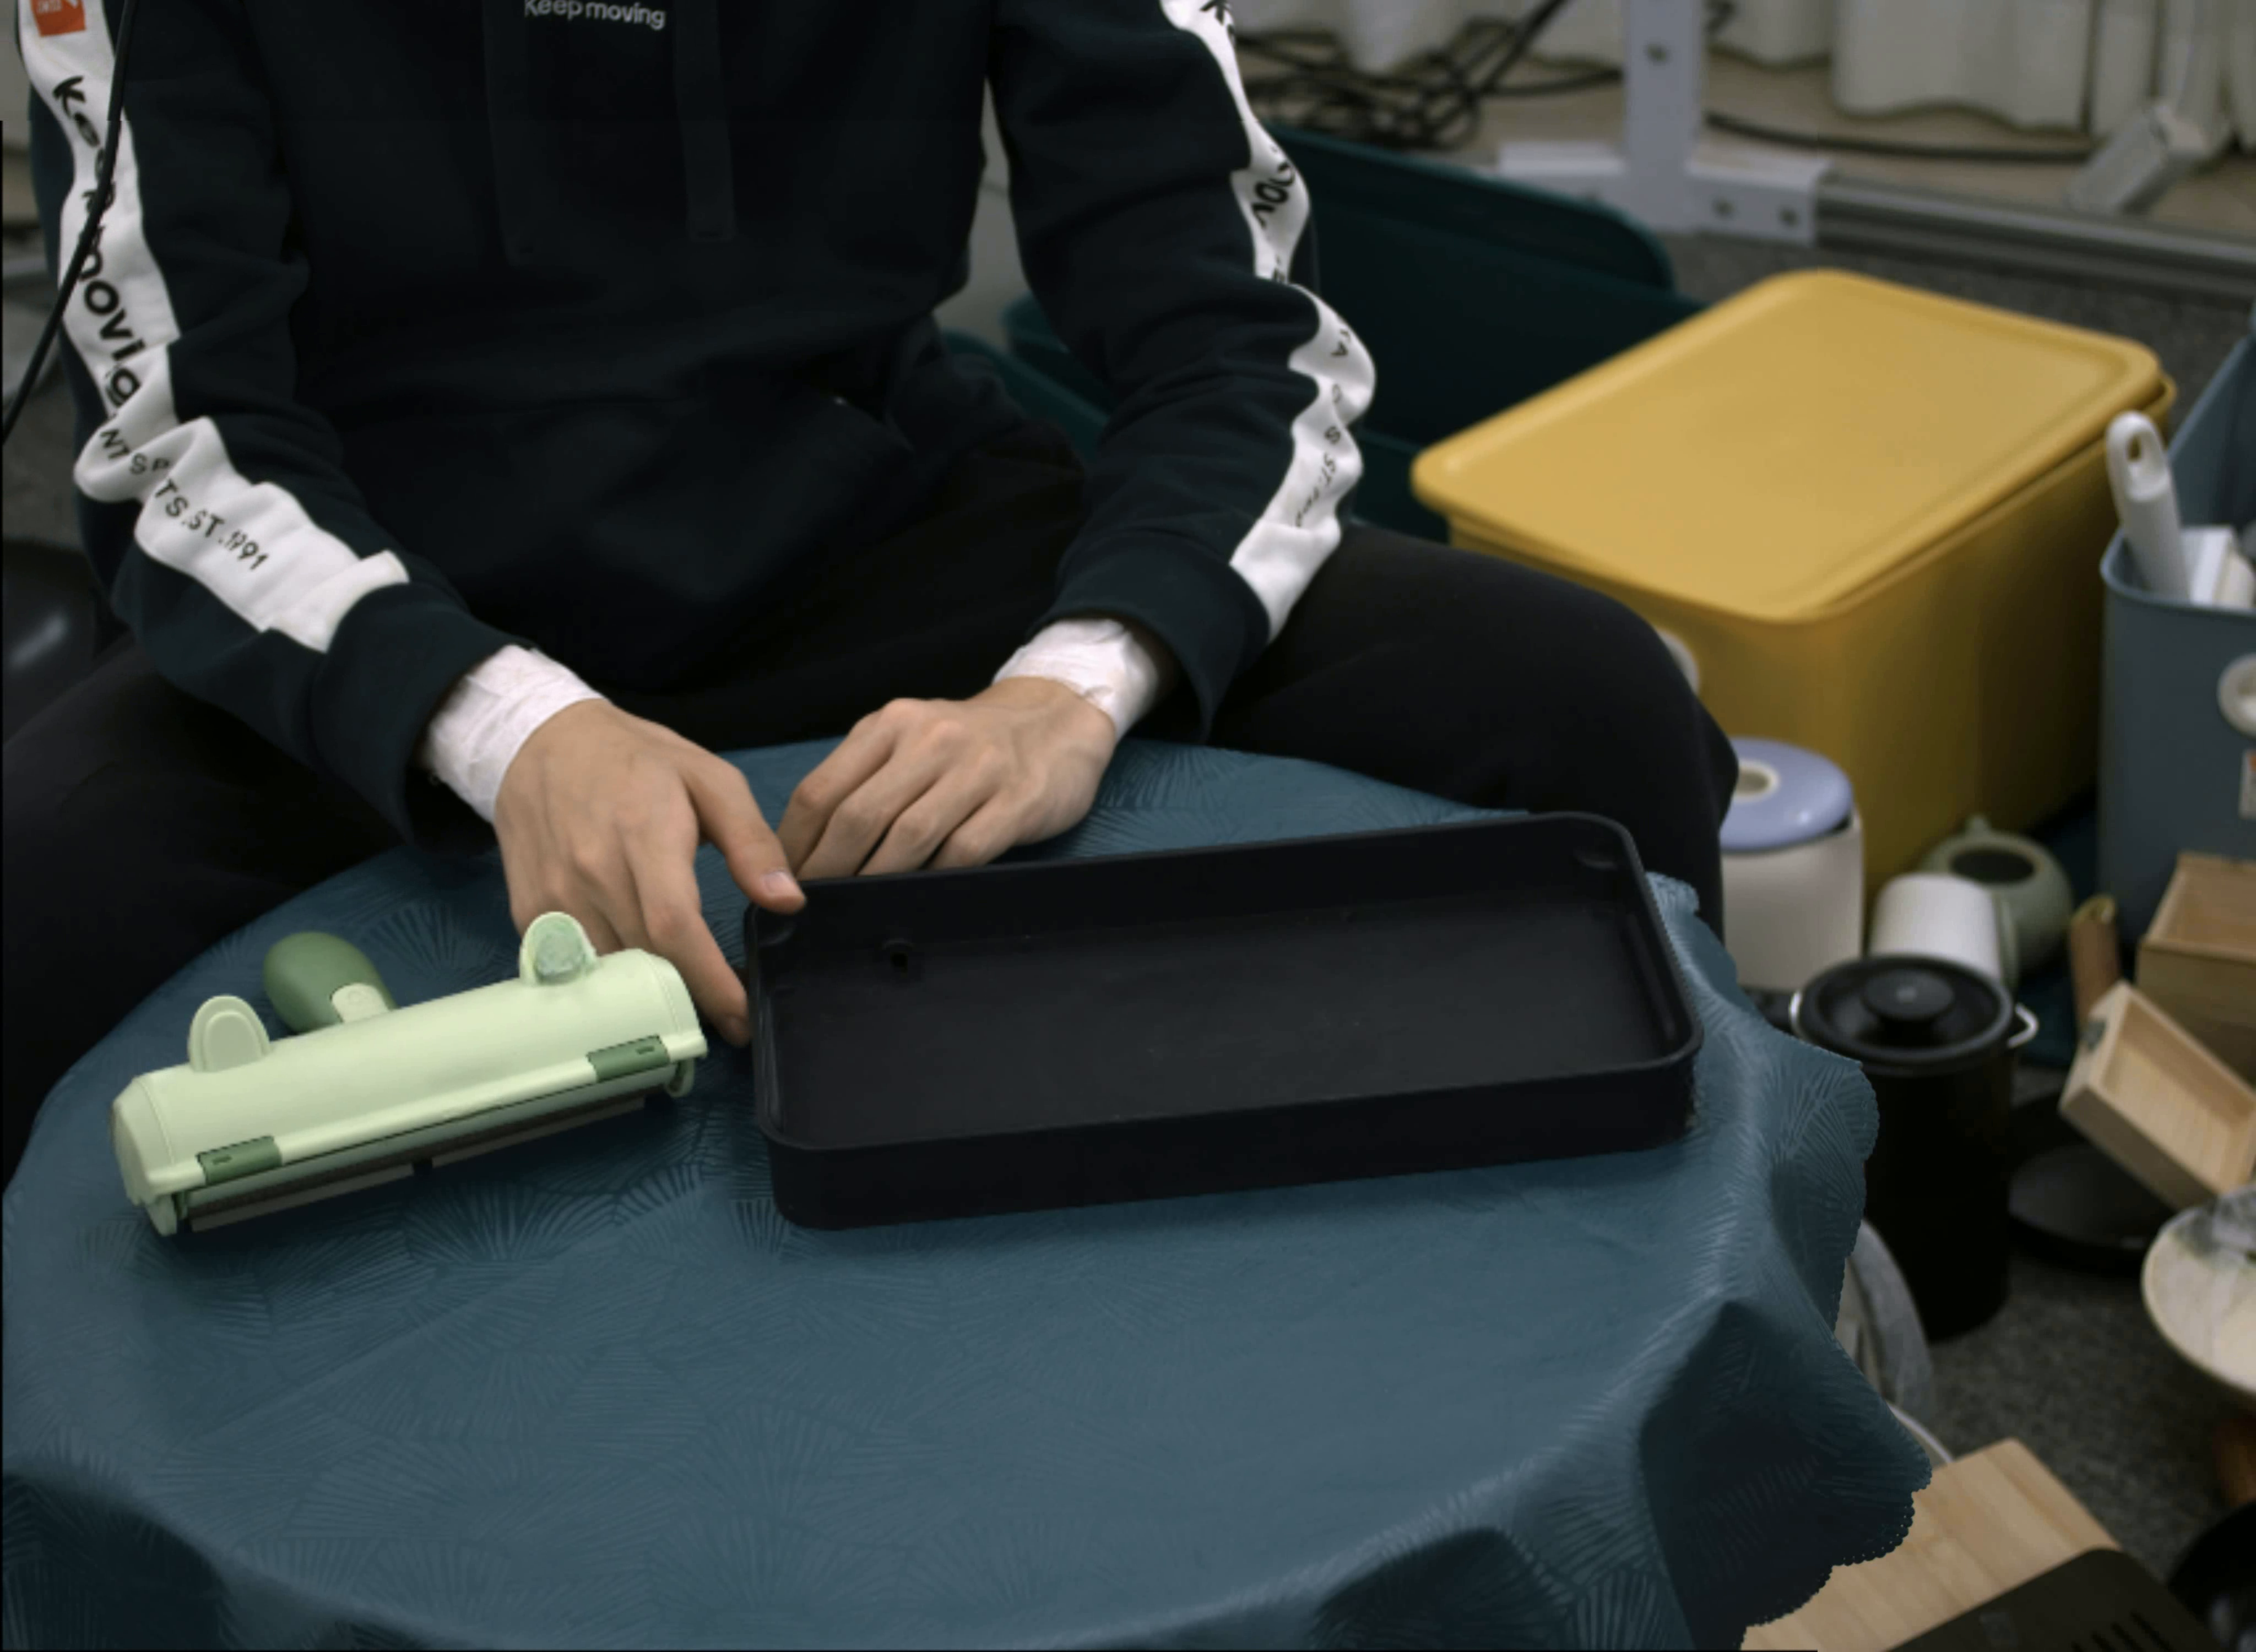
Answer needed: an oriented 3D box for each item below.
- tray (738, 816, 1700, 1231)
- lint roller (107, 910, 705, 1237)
[{"bbox_3d":[0.027,0.065,1.928,0.317,0.036,0.187,-5,28,-4],"label":"tray"},{"bbox_3d":[-0.264,0.058,1.923,0.199,0.081,0.185,-14,33,-21],"label":"lint roller"}]
